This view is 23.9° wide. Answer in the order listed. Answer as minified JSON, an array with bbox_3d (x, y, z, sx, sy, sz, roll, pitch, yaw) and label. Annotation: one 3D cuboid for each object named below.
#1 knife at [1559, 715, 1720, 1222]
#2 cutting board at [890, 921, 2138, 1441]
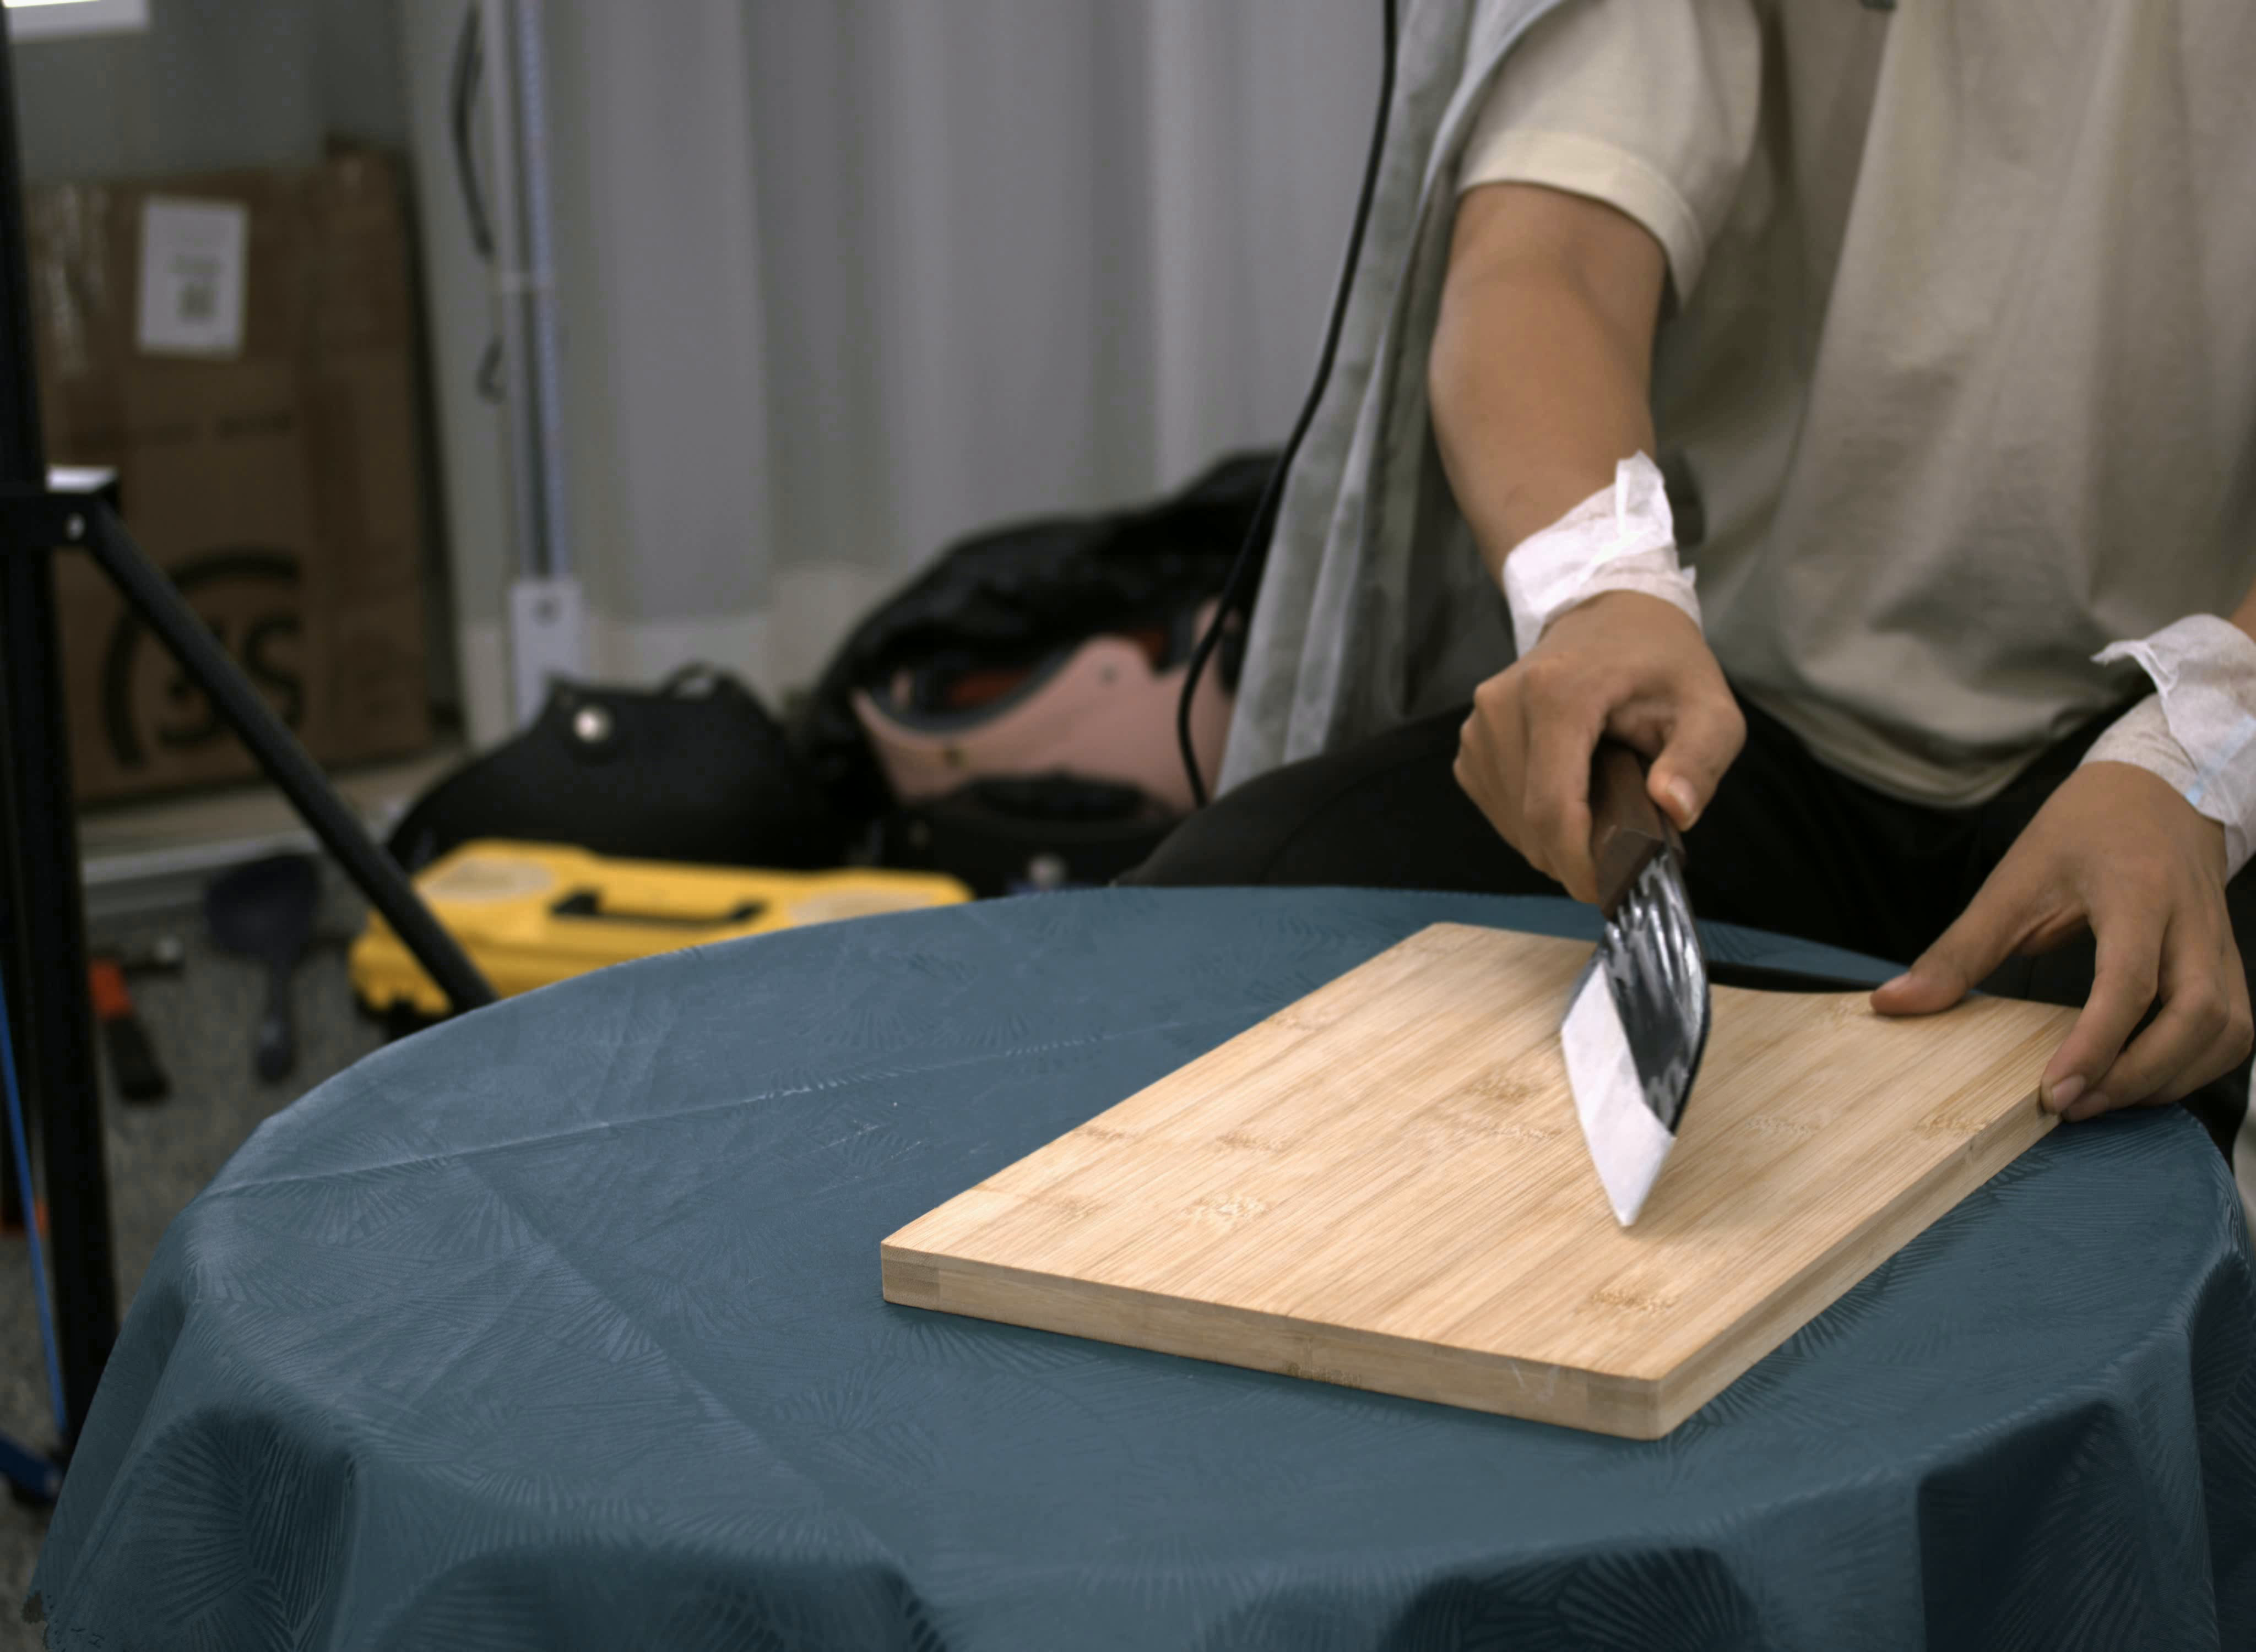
[{"bbox_3d":[0.149,0.039,1.585,0.024,0.068,0.301,27,18,-10],"label":"knife"},{"bbox_3d":[0.122,0.095,1.553,0.255,0.023,0.342,7,18,30],"label":"cutting board"}]
